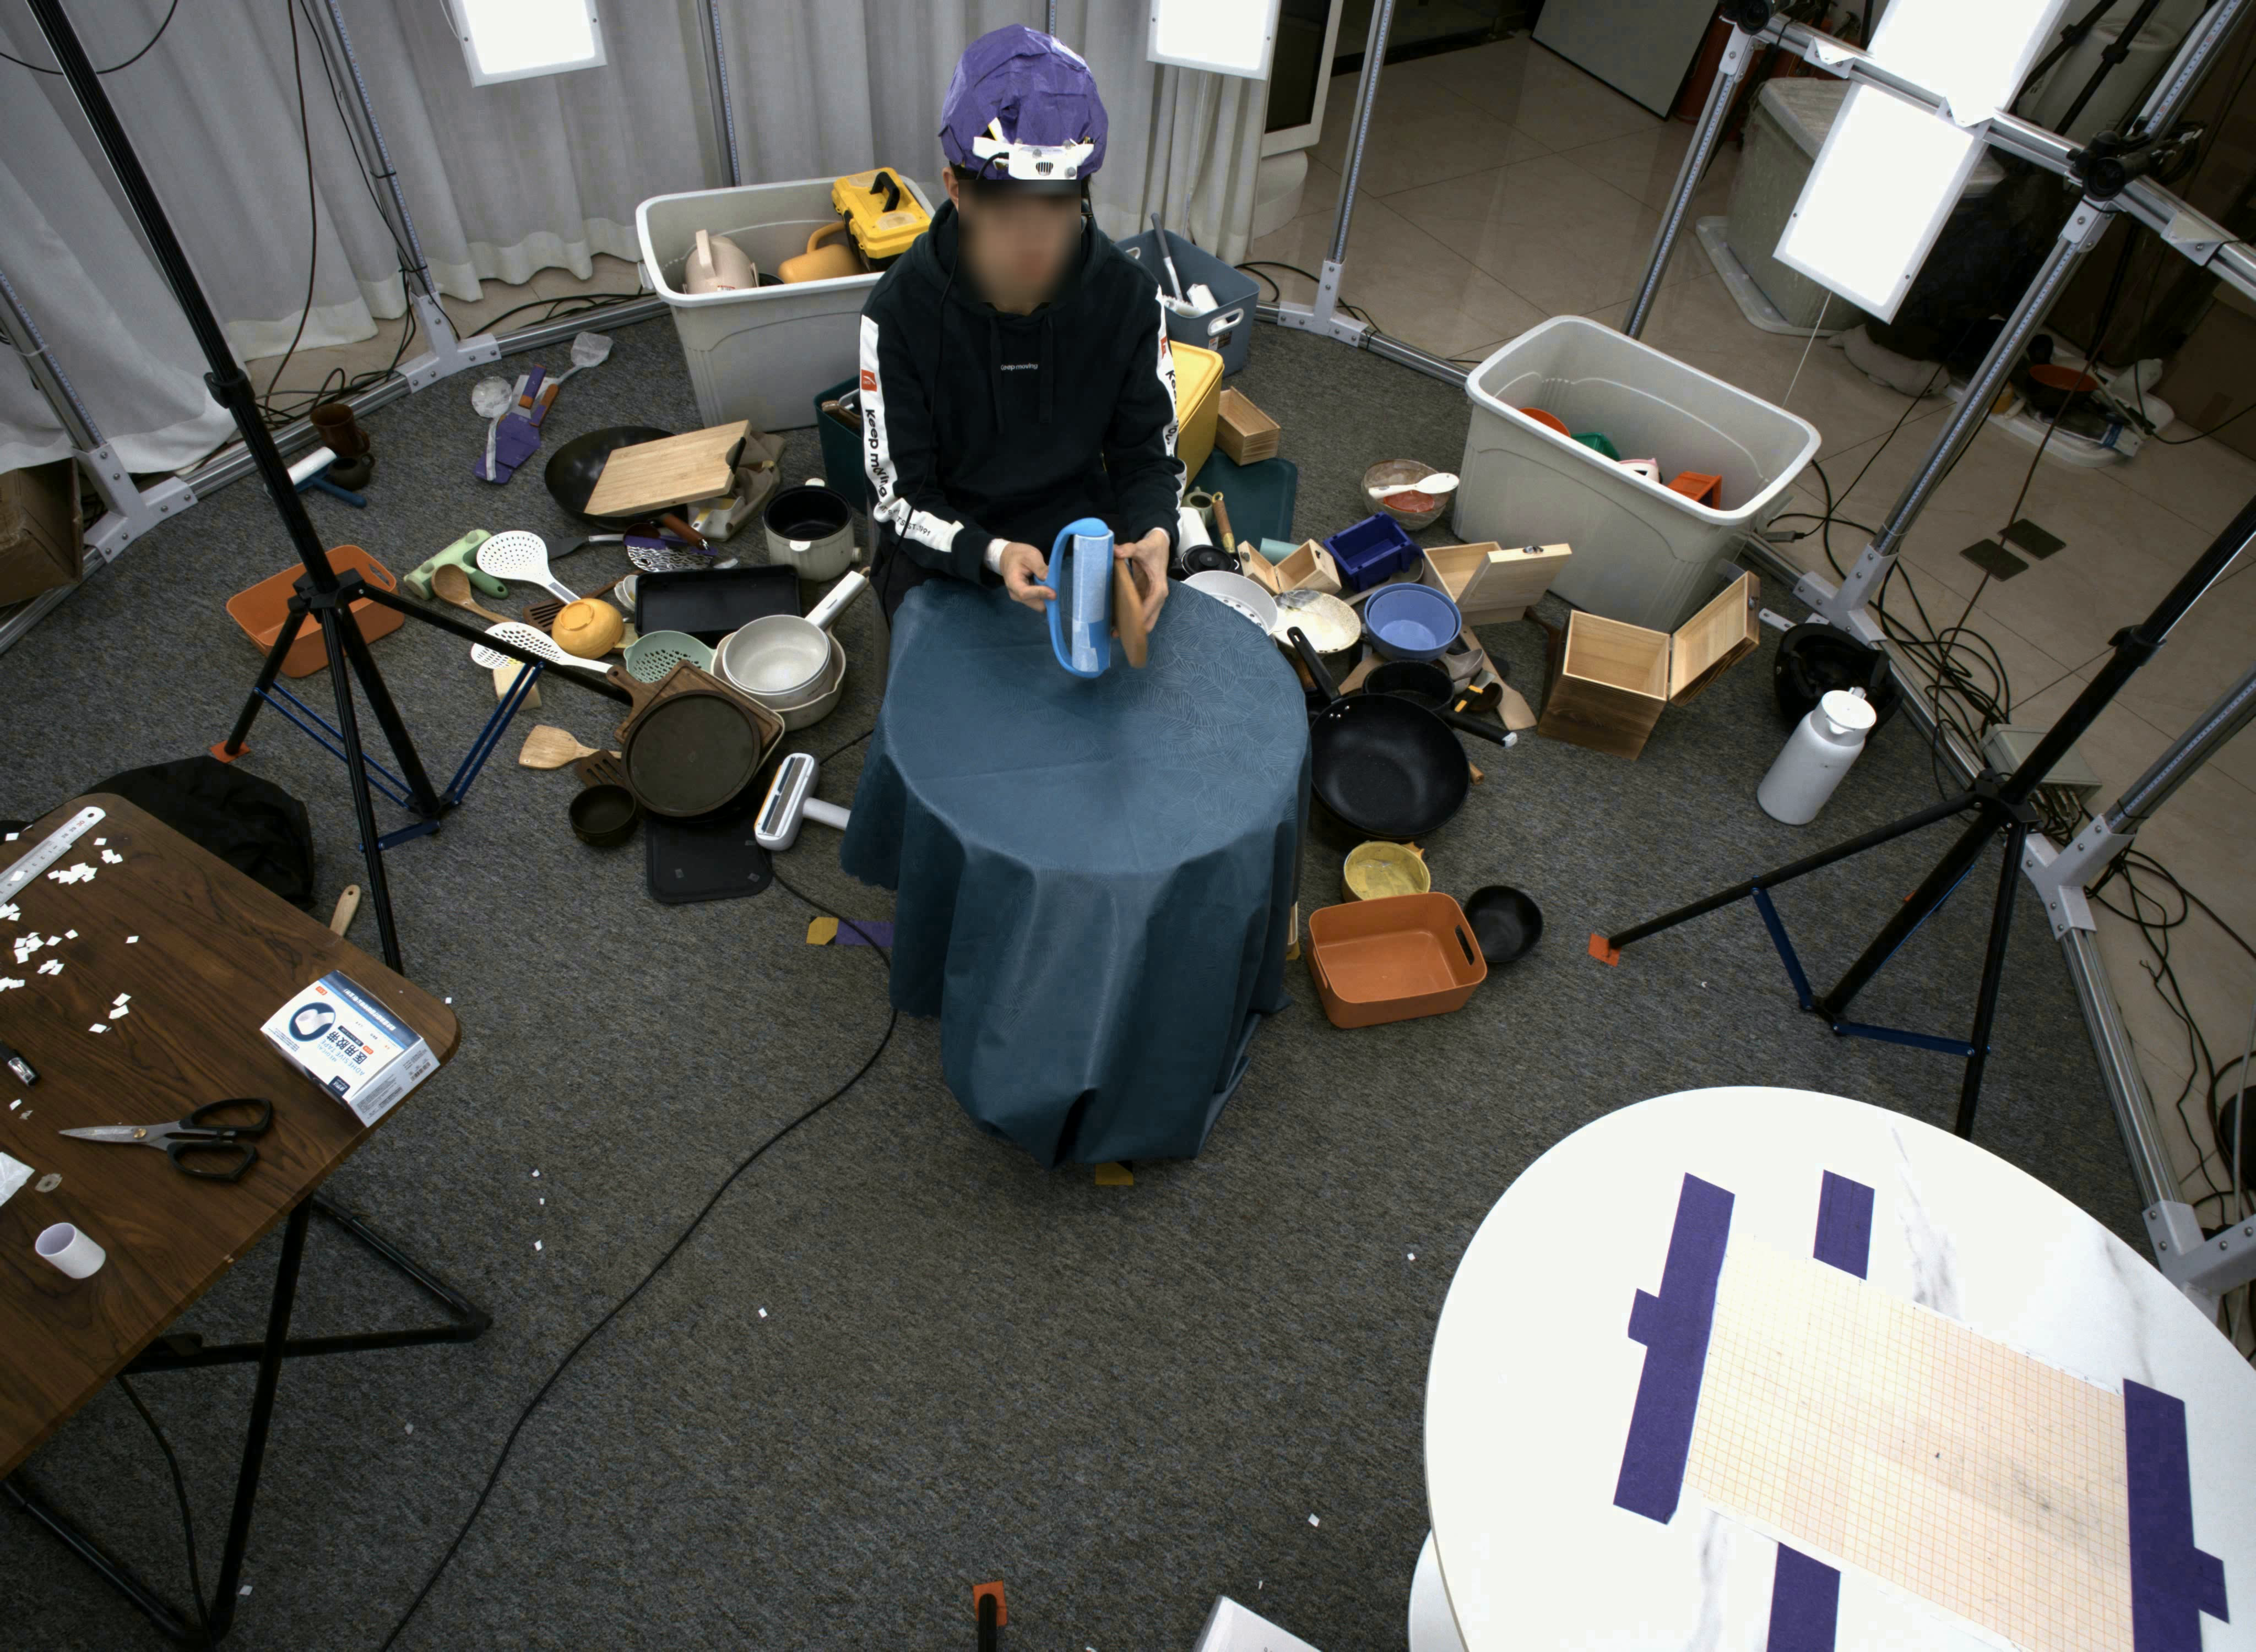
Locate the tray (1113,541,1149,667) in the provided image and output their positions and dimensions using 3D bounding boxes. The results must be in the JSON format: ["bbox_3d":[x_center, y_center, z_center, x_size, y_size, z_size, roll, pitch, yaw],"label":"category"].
[{"bbox_3d":[-0.004,-0.303,1.743,0.020,0.099,0.237,-7,41,-12],"label":"tray"}]

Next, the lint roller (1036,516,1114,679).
[{"bbox_3d":[-0.088,-0.331,1.803,0.068,0.224,0.183,-22,34,-36],"label":"lint roller"}]
